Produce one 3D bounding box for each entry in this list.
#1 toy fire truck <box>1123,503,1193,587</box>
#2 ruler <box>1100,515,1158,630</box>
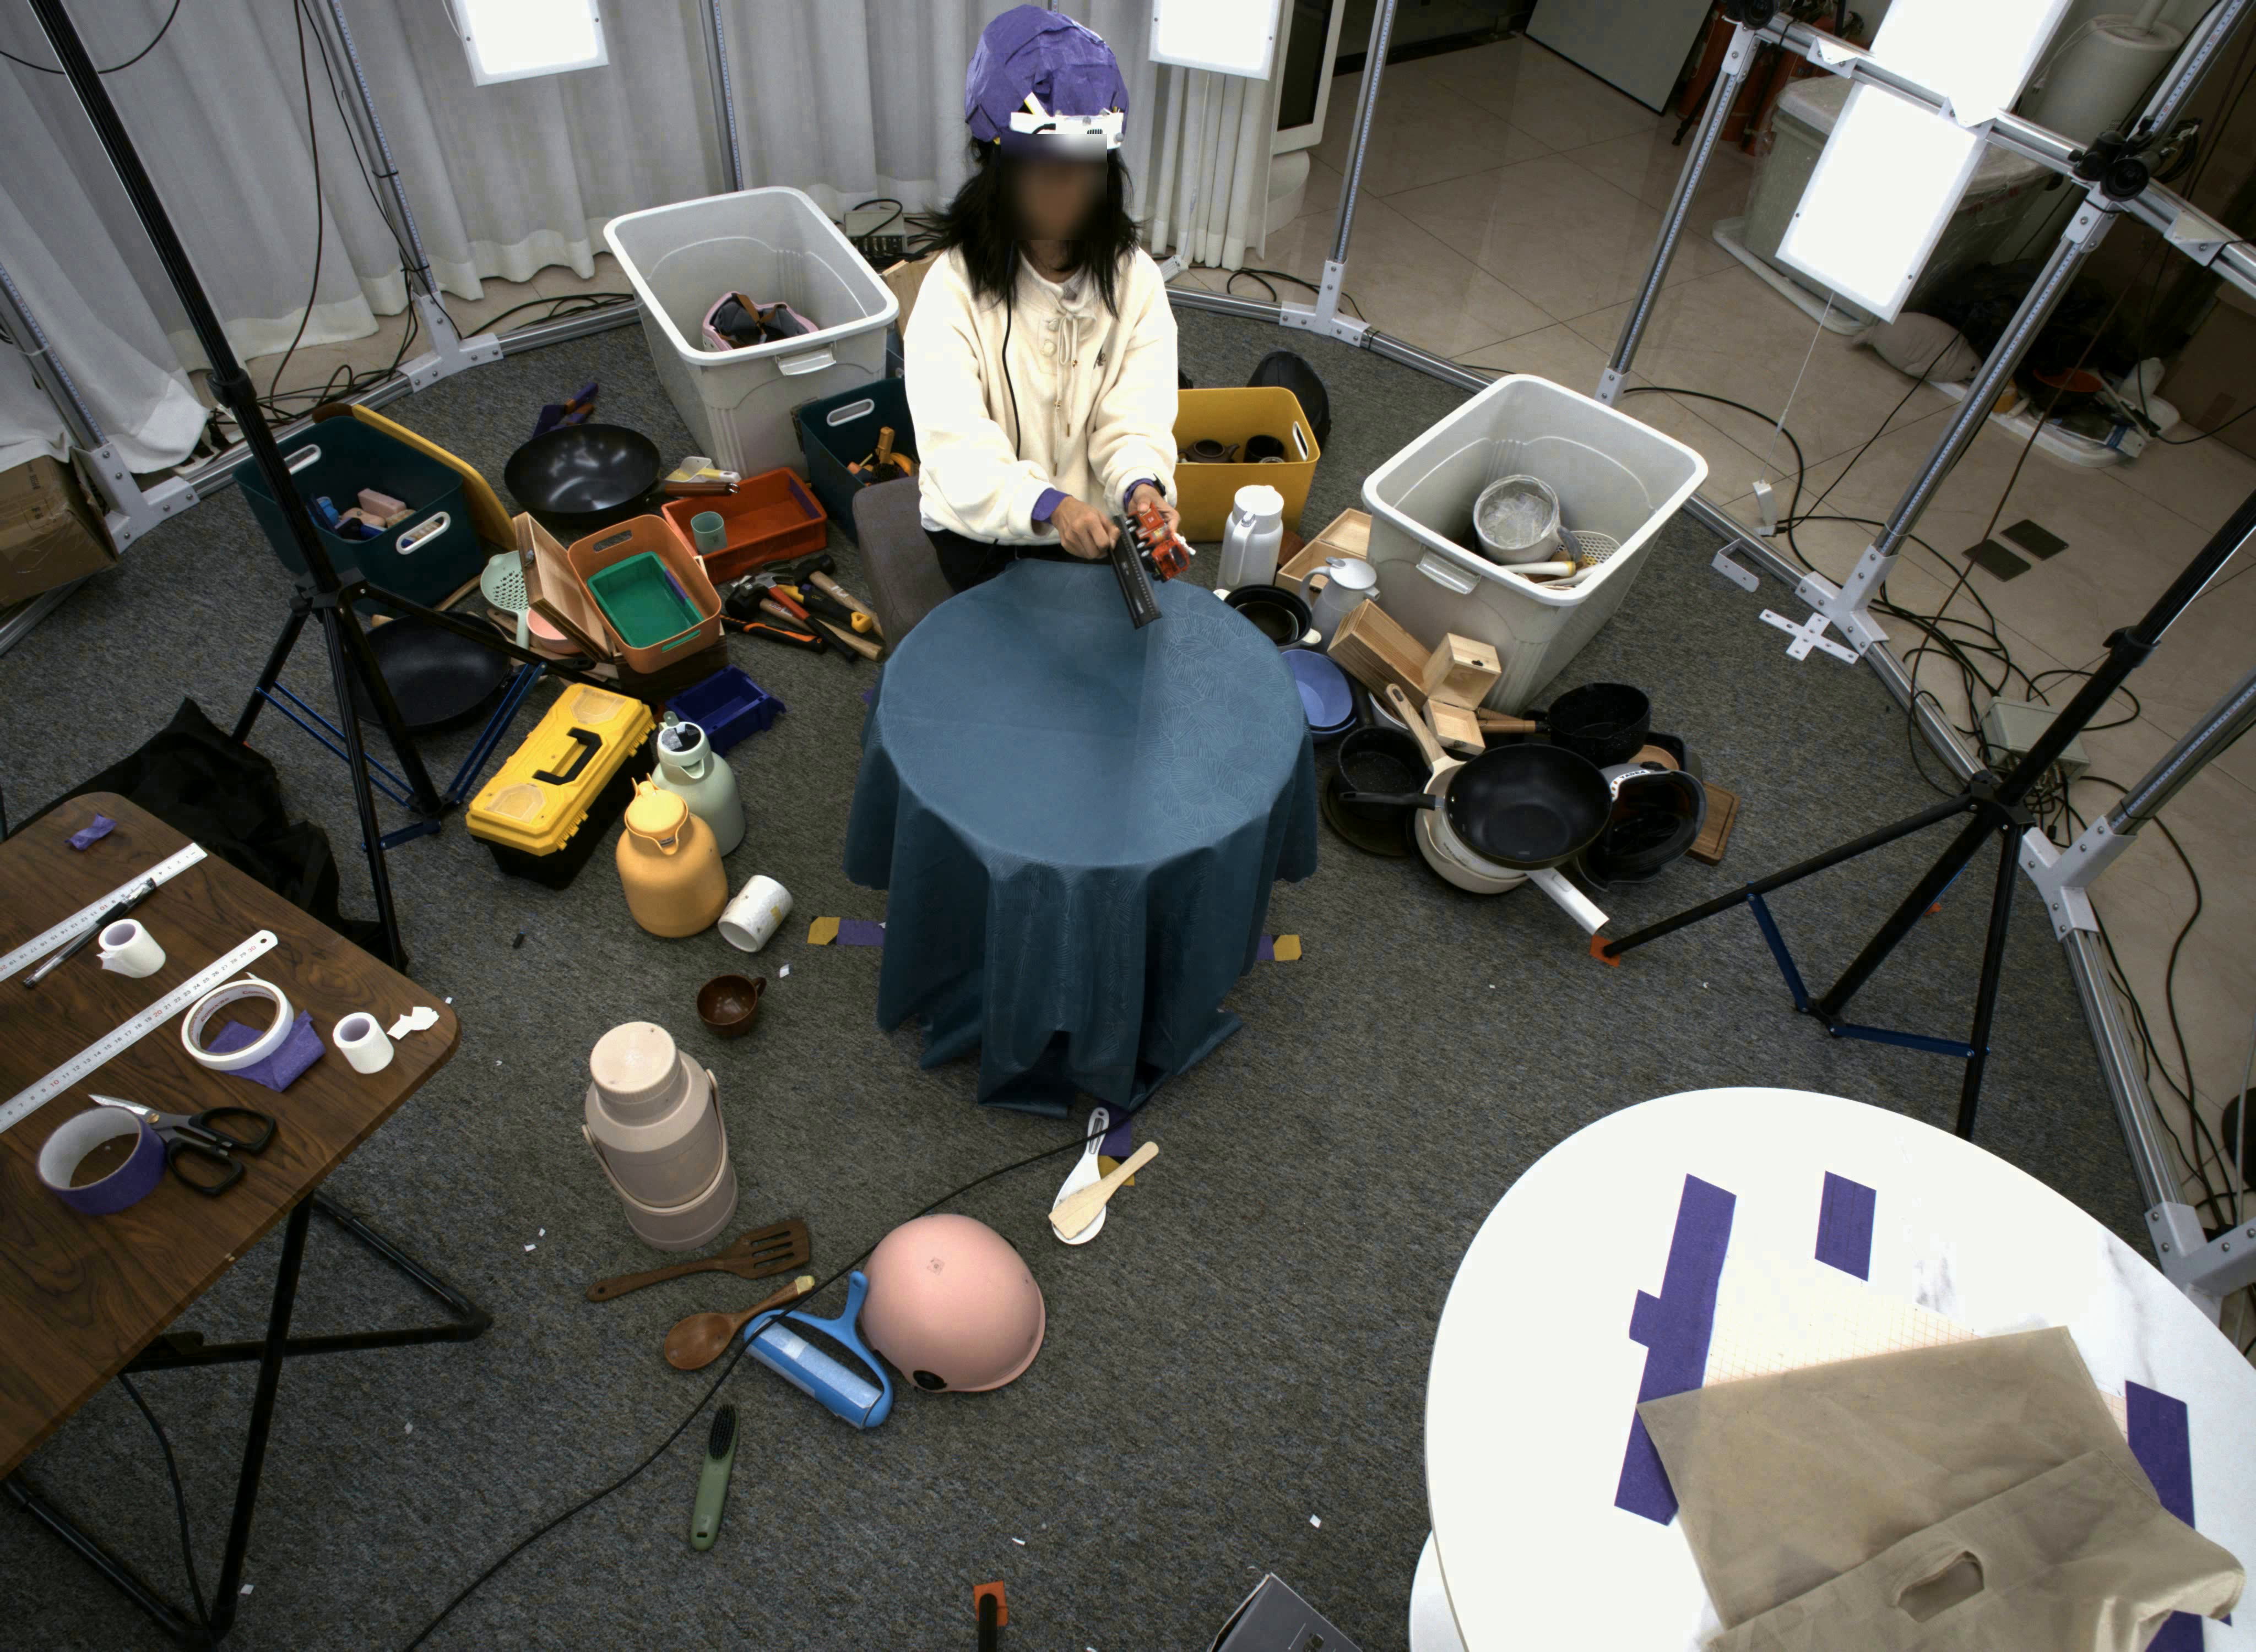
[{"bbox_3d":[0.040,-0.391,1.781,0.070,0.053,0.172,-31,33,7],"label":"toy fire truck"},{"bbox_3d":[-0.003,-0.349,1.718,0.039,0.017,0.320,-22,37,6],"label":"ruler"}]
